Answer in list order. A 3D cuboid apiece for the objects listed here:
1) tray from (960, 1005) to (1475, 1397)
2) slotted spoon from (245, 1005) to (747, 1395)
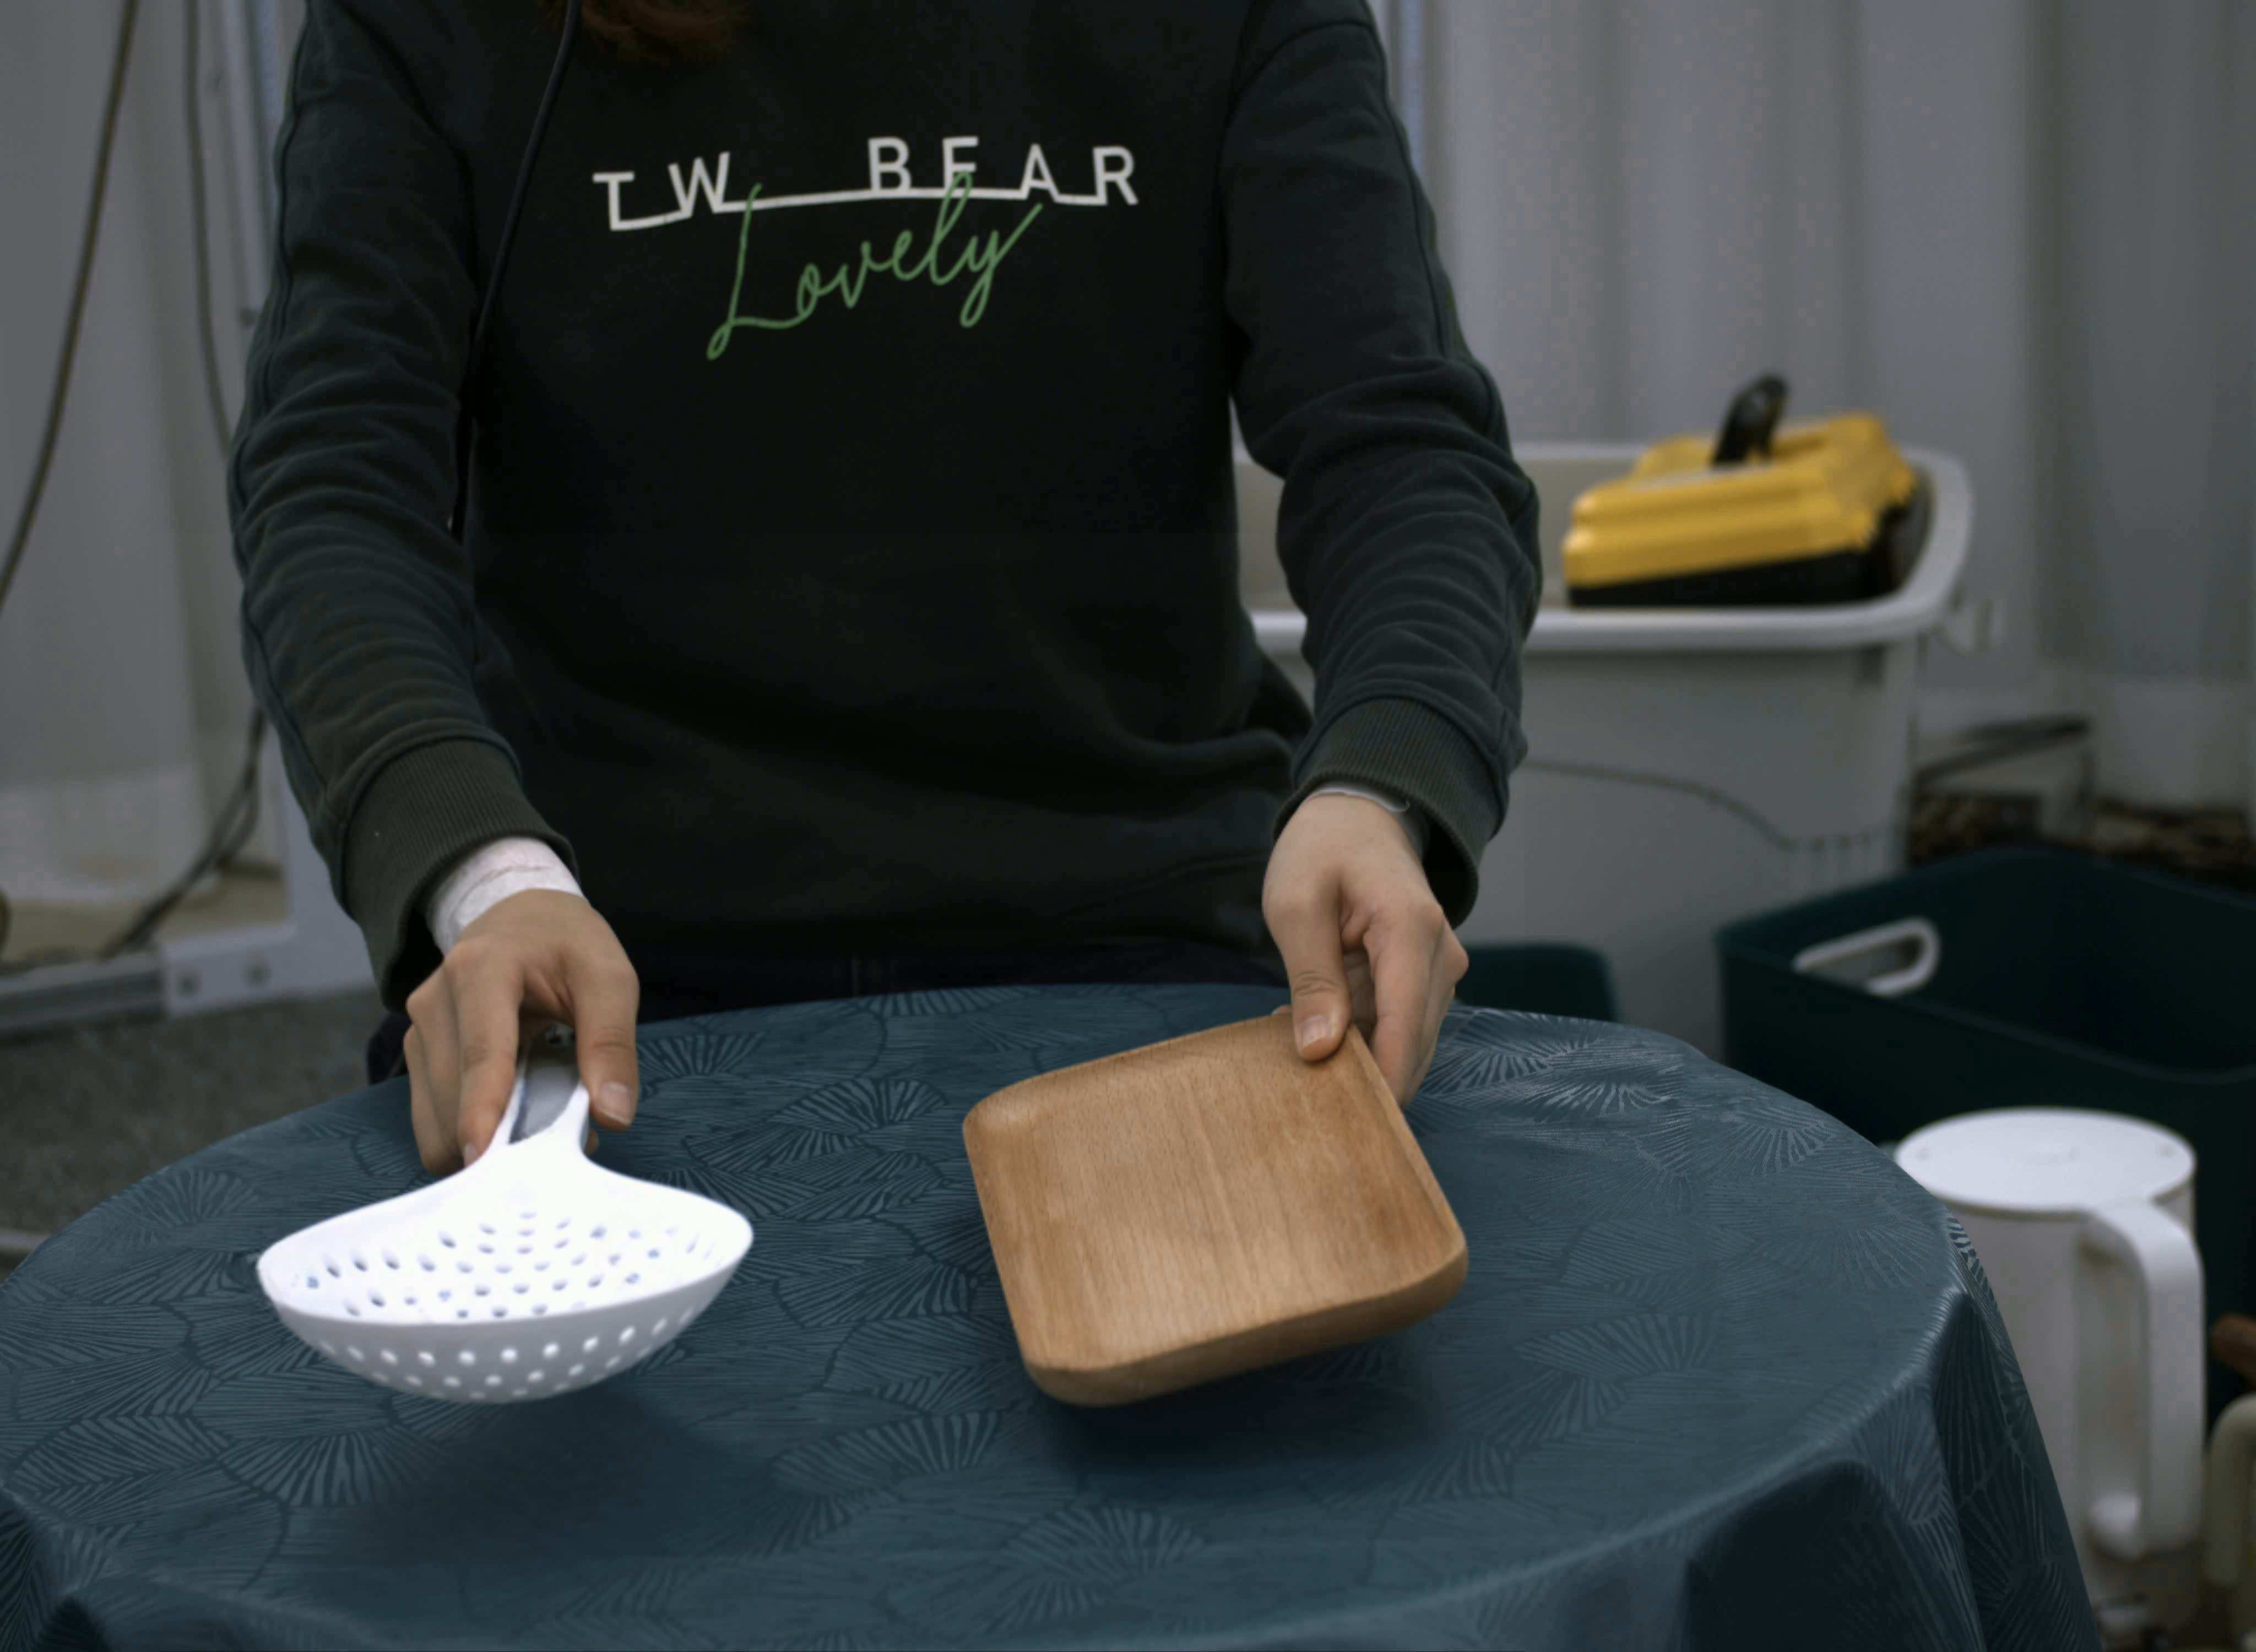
[{"bbox_3d":[0.022,0.106,1.595,0.130,0.023,0.252,-12,15,-3],"label":"tray"},{"bbox_3d":[-0.174,0.099,1.588,0.135,0.045,0.352,-3,16,-1],"label":"slotted spoon"}]
